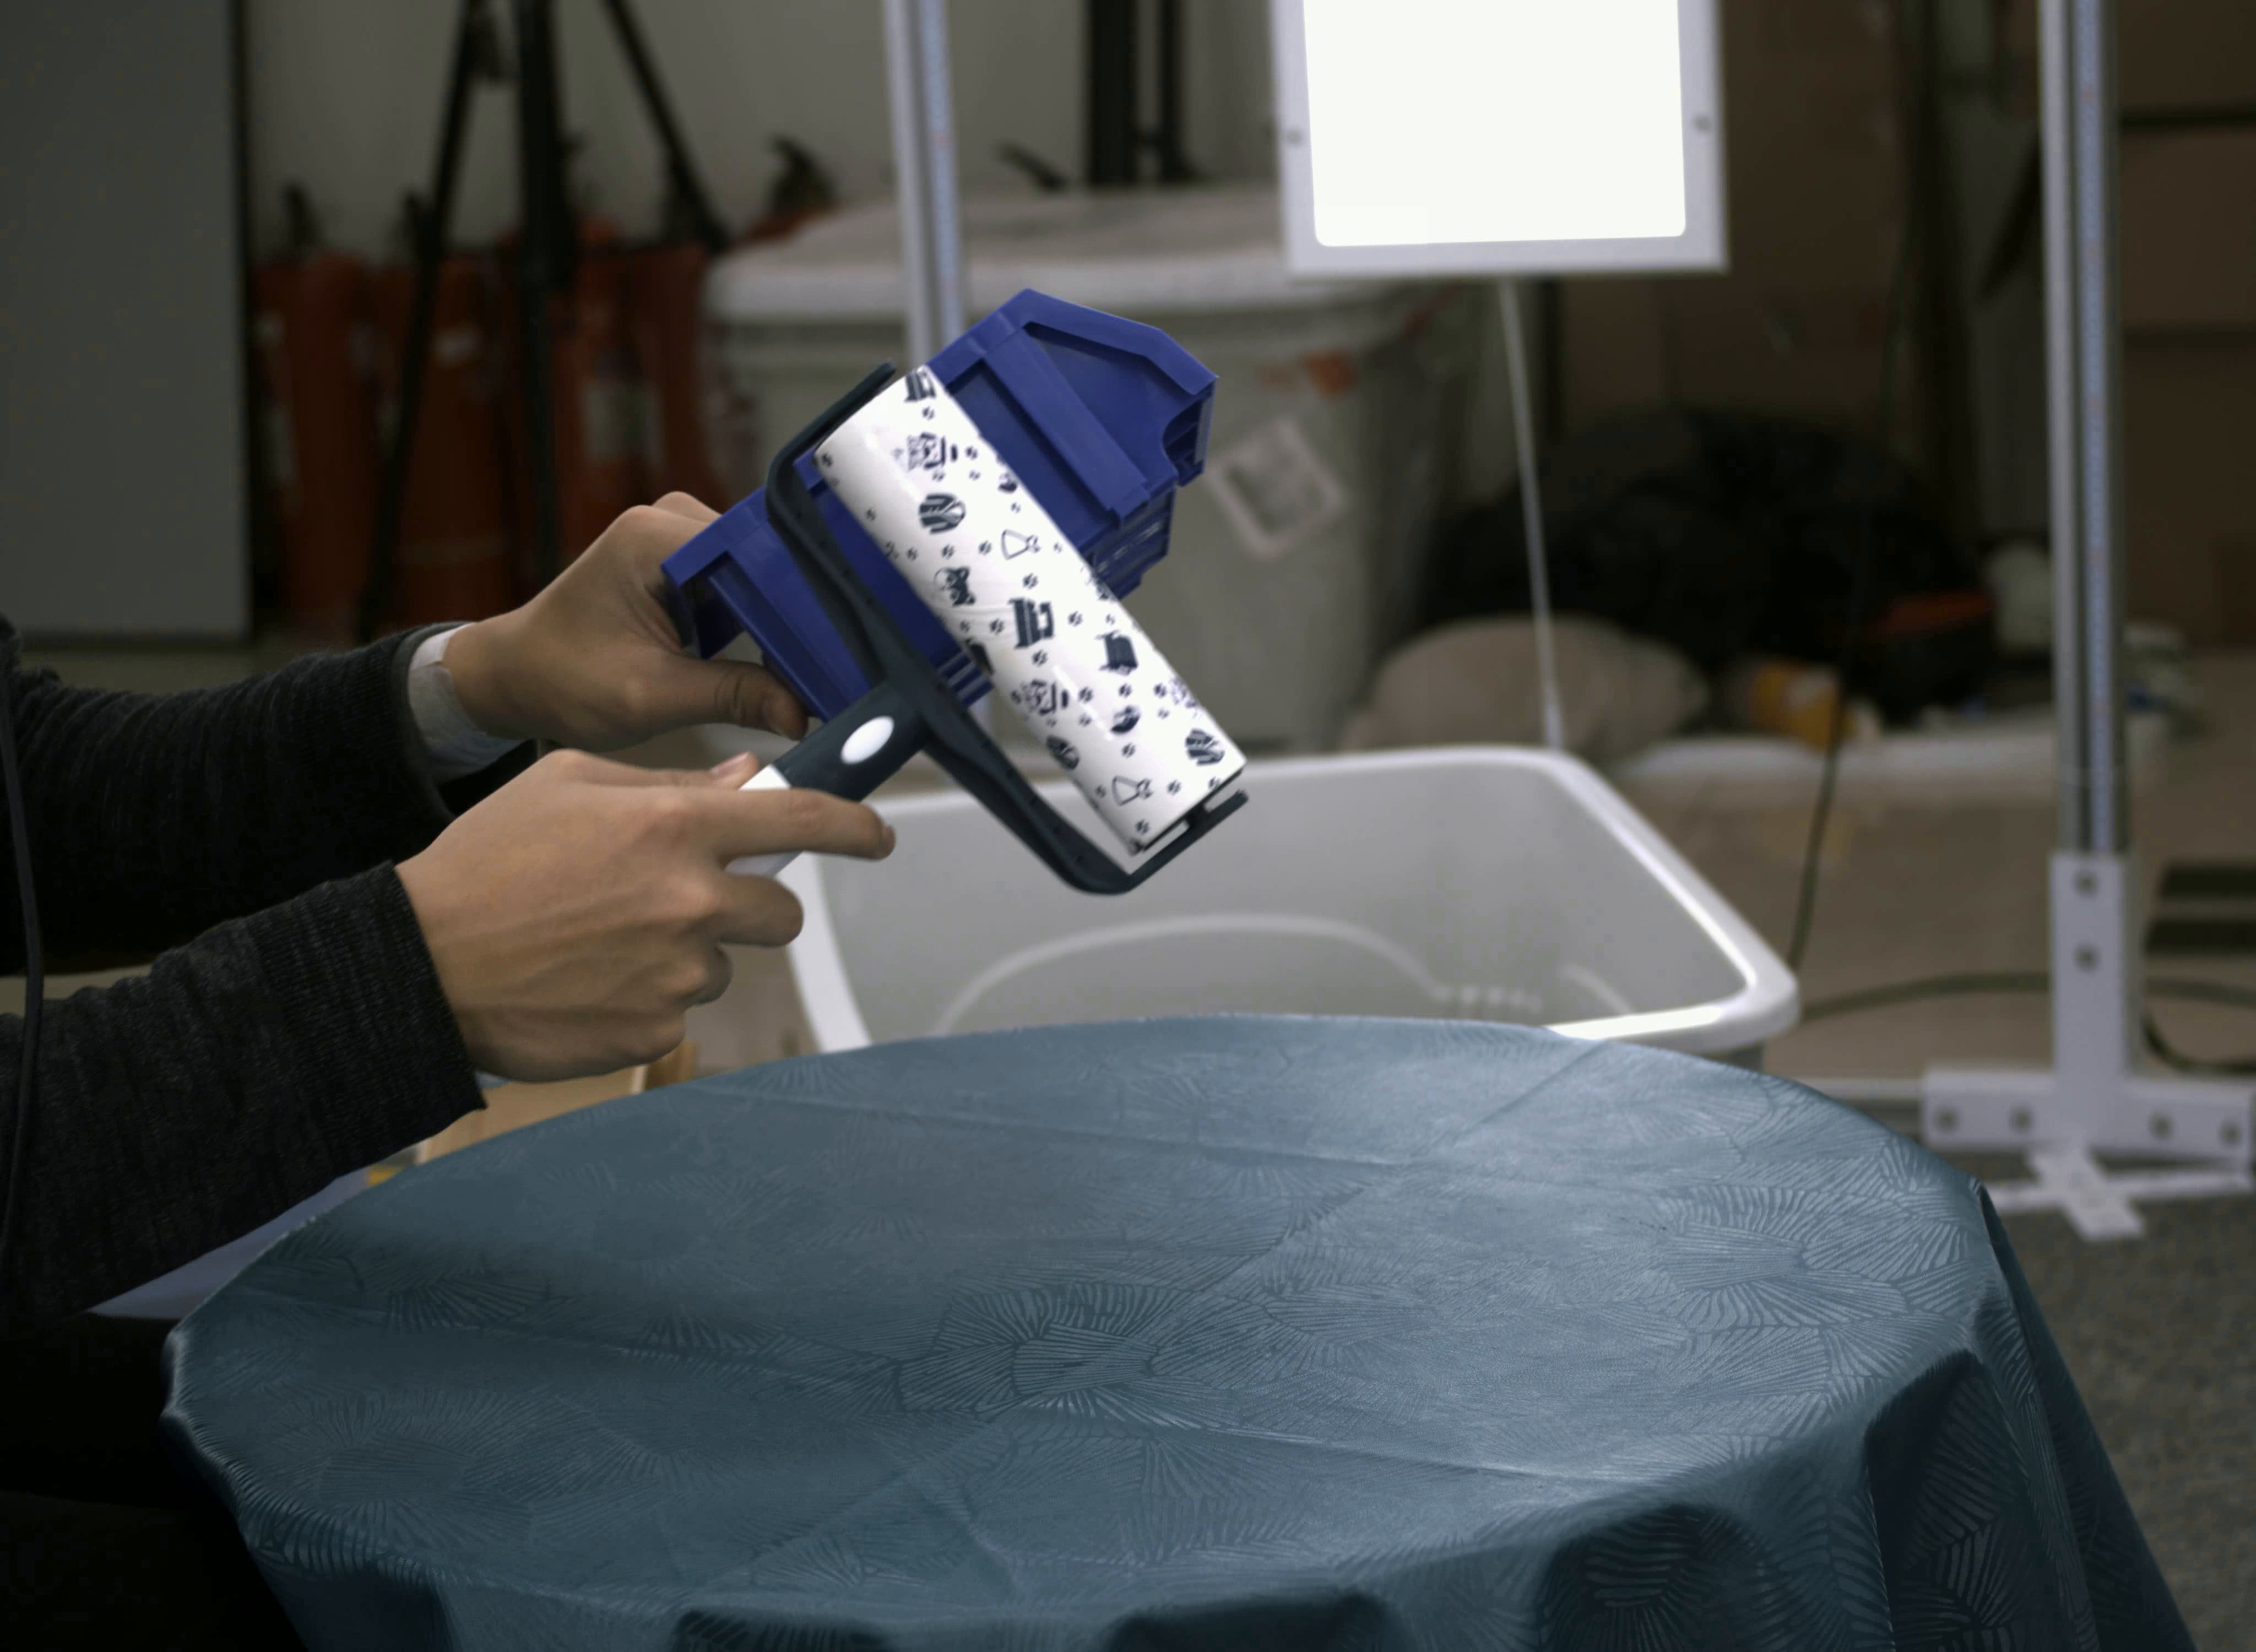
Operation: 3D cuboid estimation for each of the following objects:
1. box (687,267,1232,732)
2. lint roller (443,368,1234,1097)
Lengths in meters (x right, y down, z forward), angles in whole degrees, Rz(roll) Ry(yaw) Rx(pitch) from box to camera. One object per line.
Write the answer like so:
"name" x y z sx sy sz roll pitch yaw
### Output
"box" -0.048 -0.102 1.823 0.178 0.082 0.124 -40 -9 -6
"lint roller" -0.109 0.000 1.691 0.246 0.176 0.050 -40 -1 -5
